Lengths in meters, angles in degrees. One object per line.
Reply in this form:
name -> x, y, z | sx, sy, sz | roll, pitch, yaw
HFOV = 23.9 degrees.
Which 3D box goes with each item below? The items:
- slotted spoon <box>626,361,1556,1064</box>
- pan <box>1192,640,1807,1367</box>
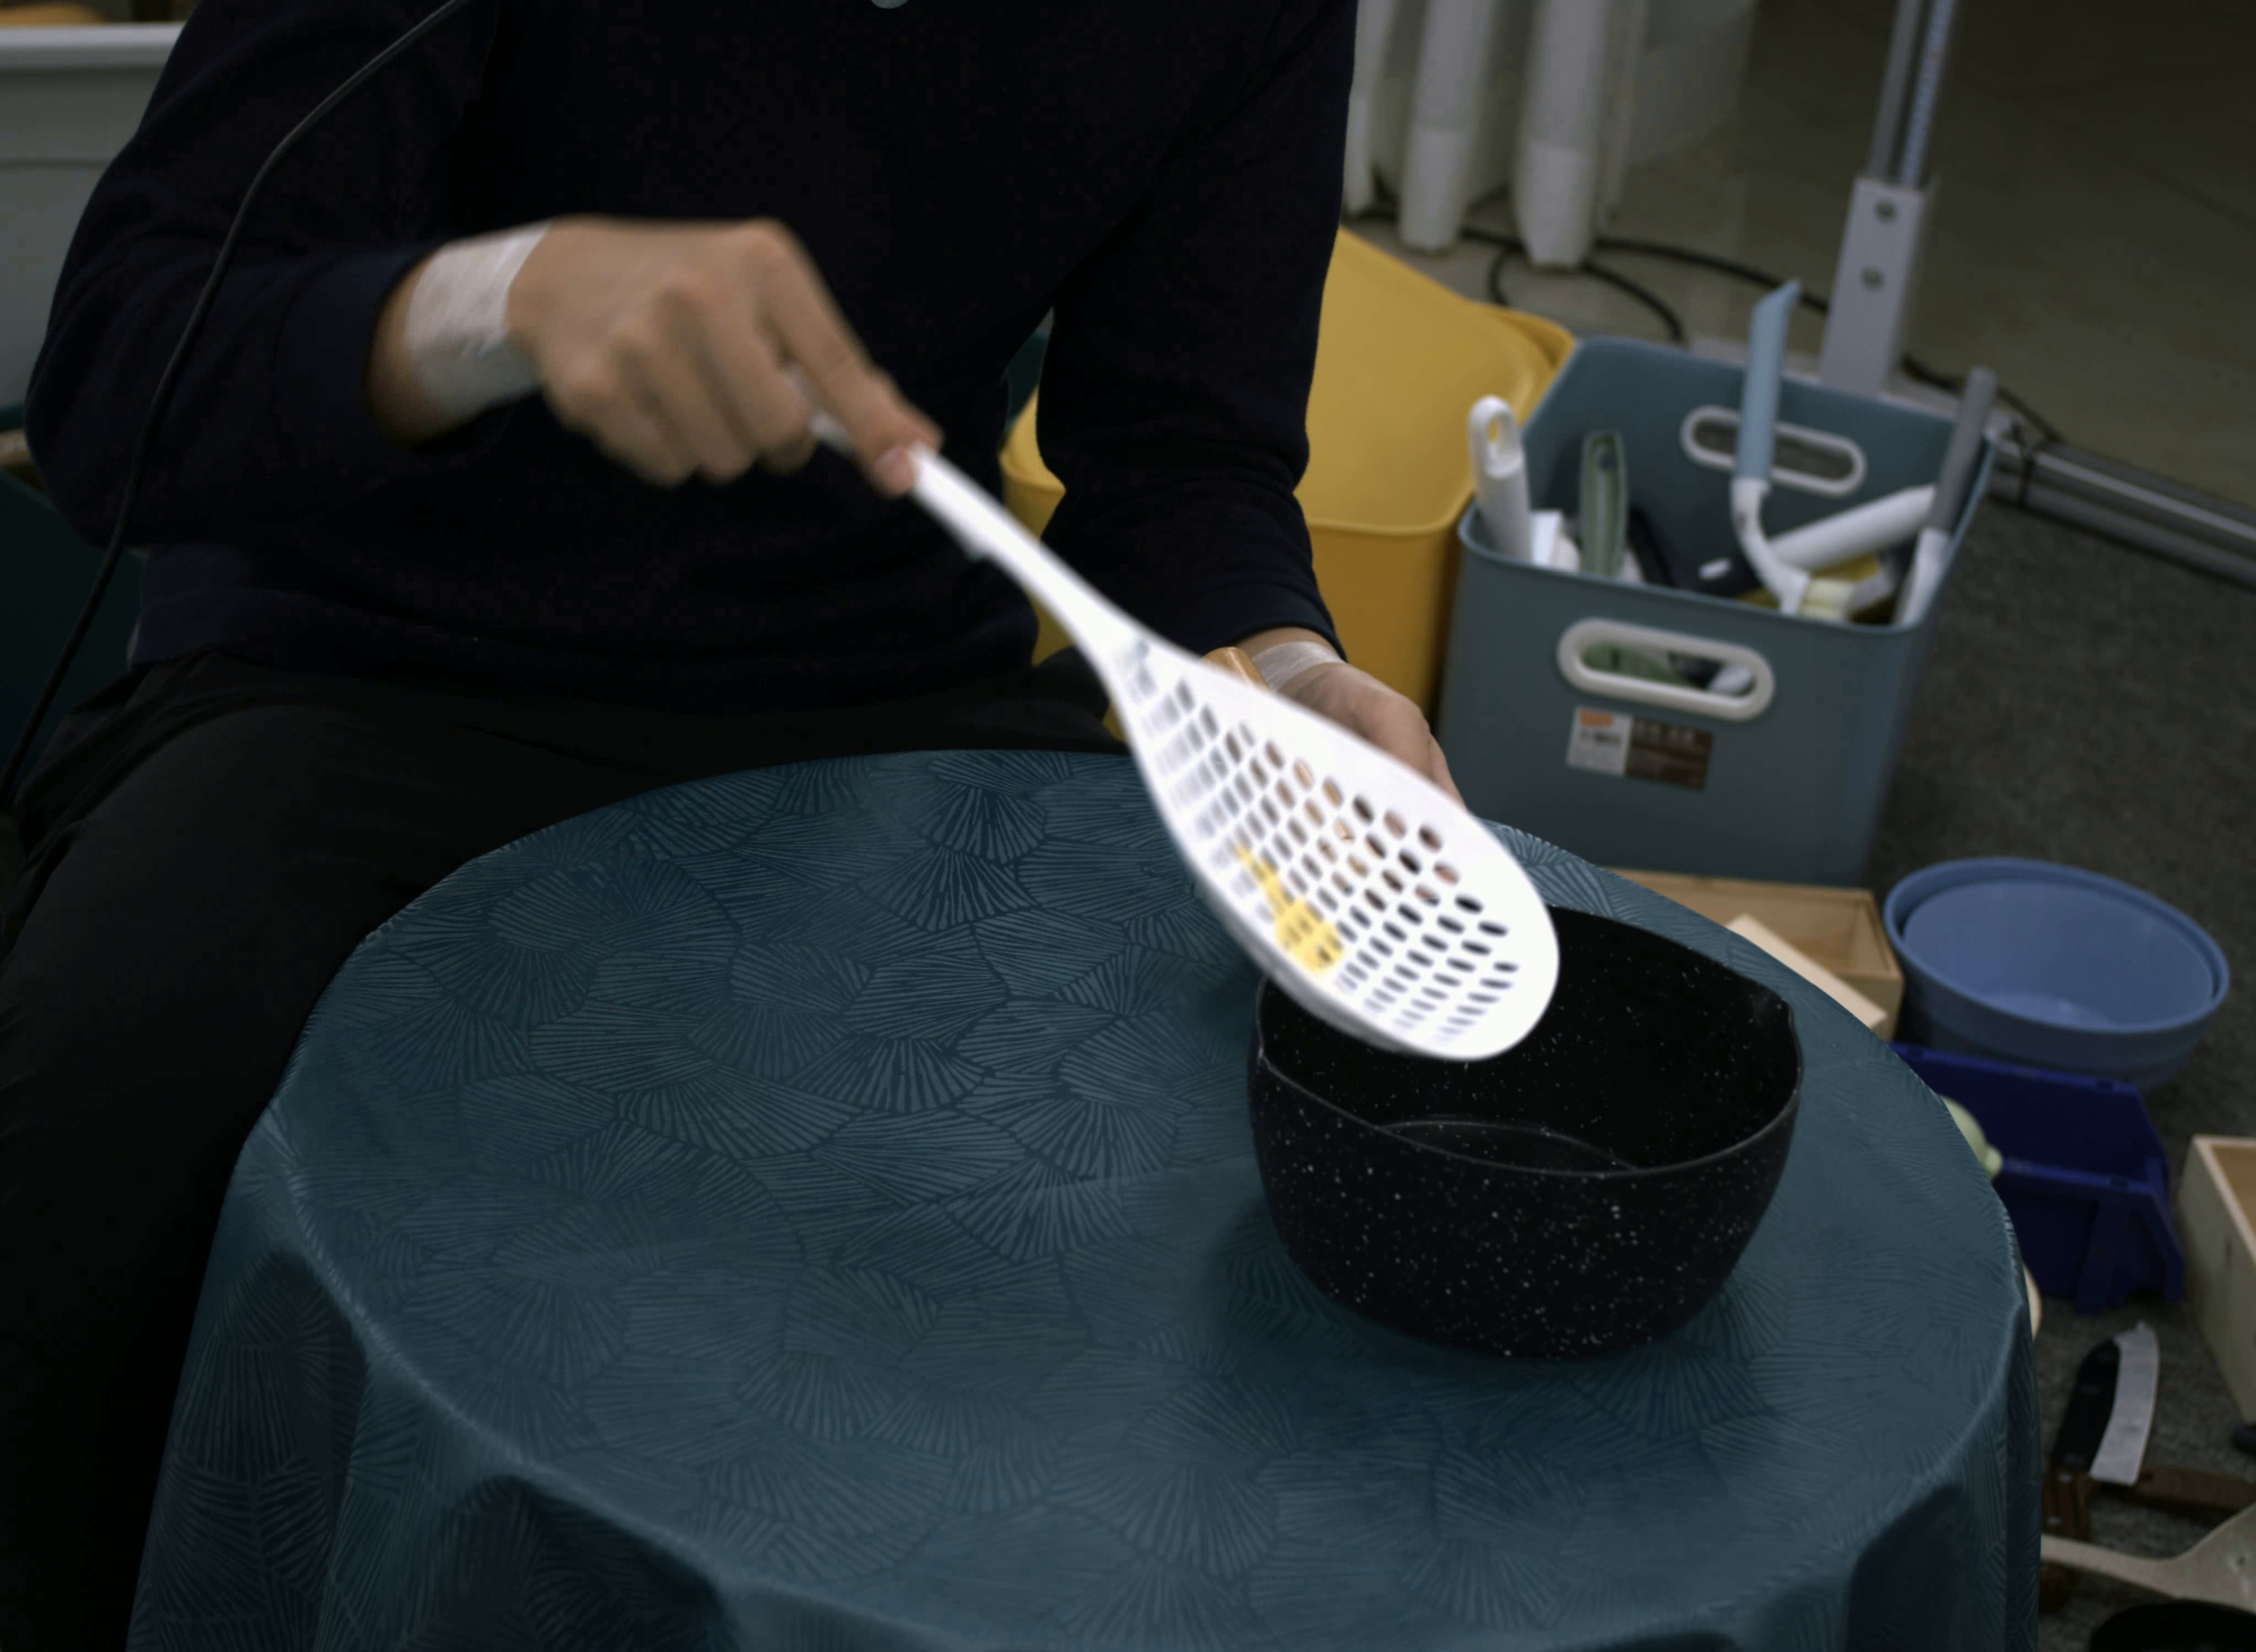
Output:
slotted spoon -> -0.015, -0.043, 1.656 | 0.348, 0.050, 0.137 | 44, 34, 5
pan -> 0.096, 0.058, 1.835 | 0.206, 0.108, 0.346 | -8, 32, -24
